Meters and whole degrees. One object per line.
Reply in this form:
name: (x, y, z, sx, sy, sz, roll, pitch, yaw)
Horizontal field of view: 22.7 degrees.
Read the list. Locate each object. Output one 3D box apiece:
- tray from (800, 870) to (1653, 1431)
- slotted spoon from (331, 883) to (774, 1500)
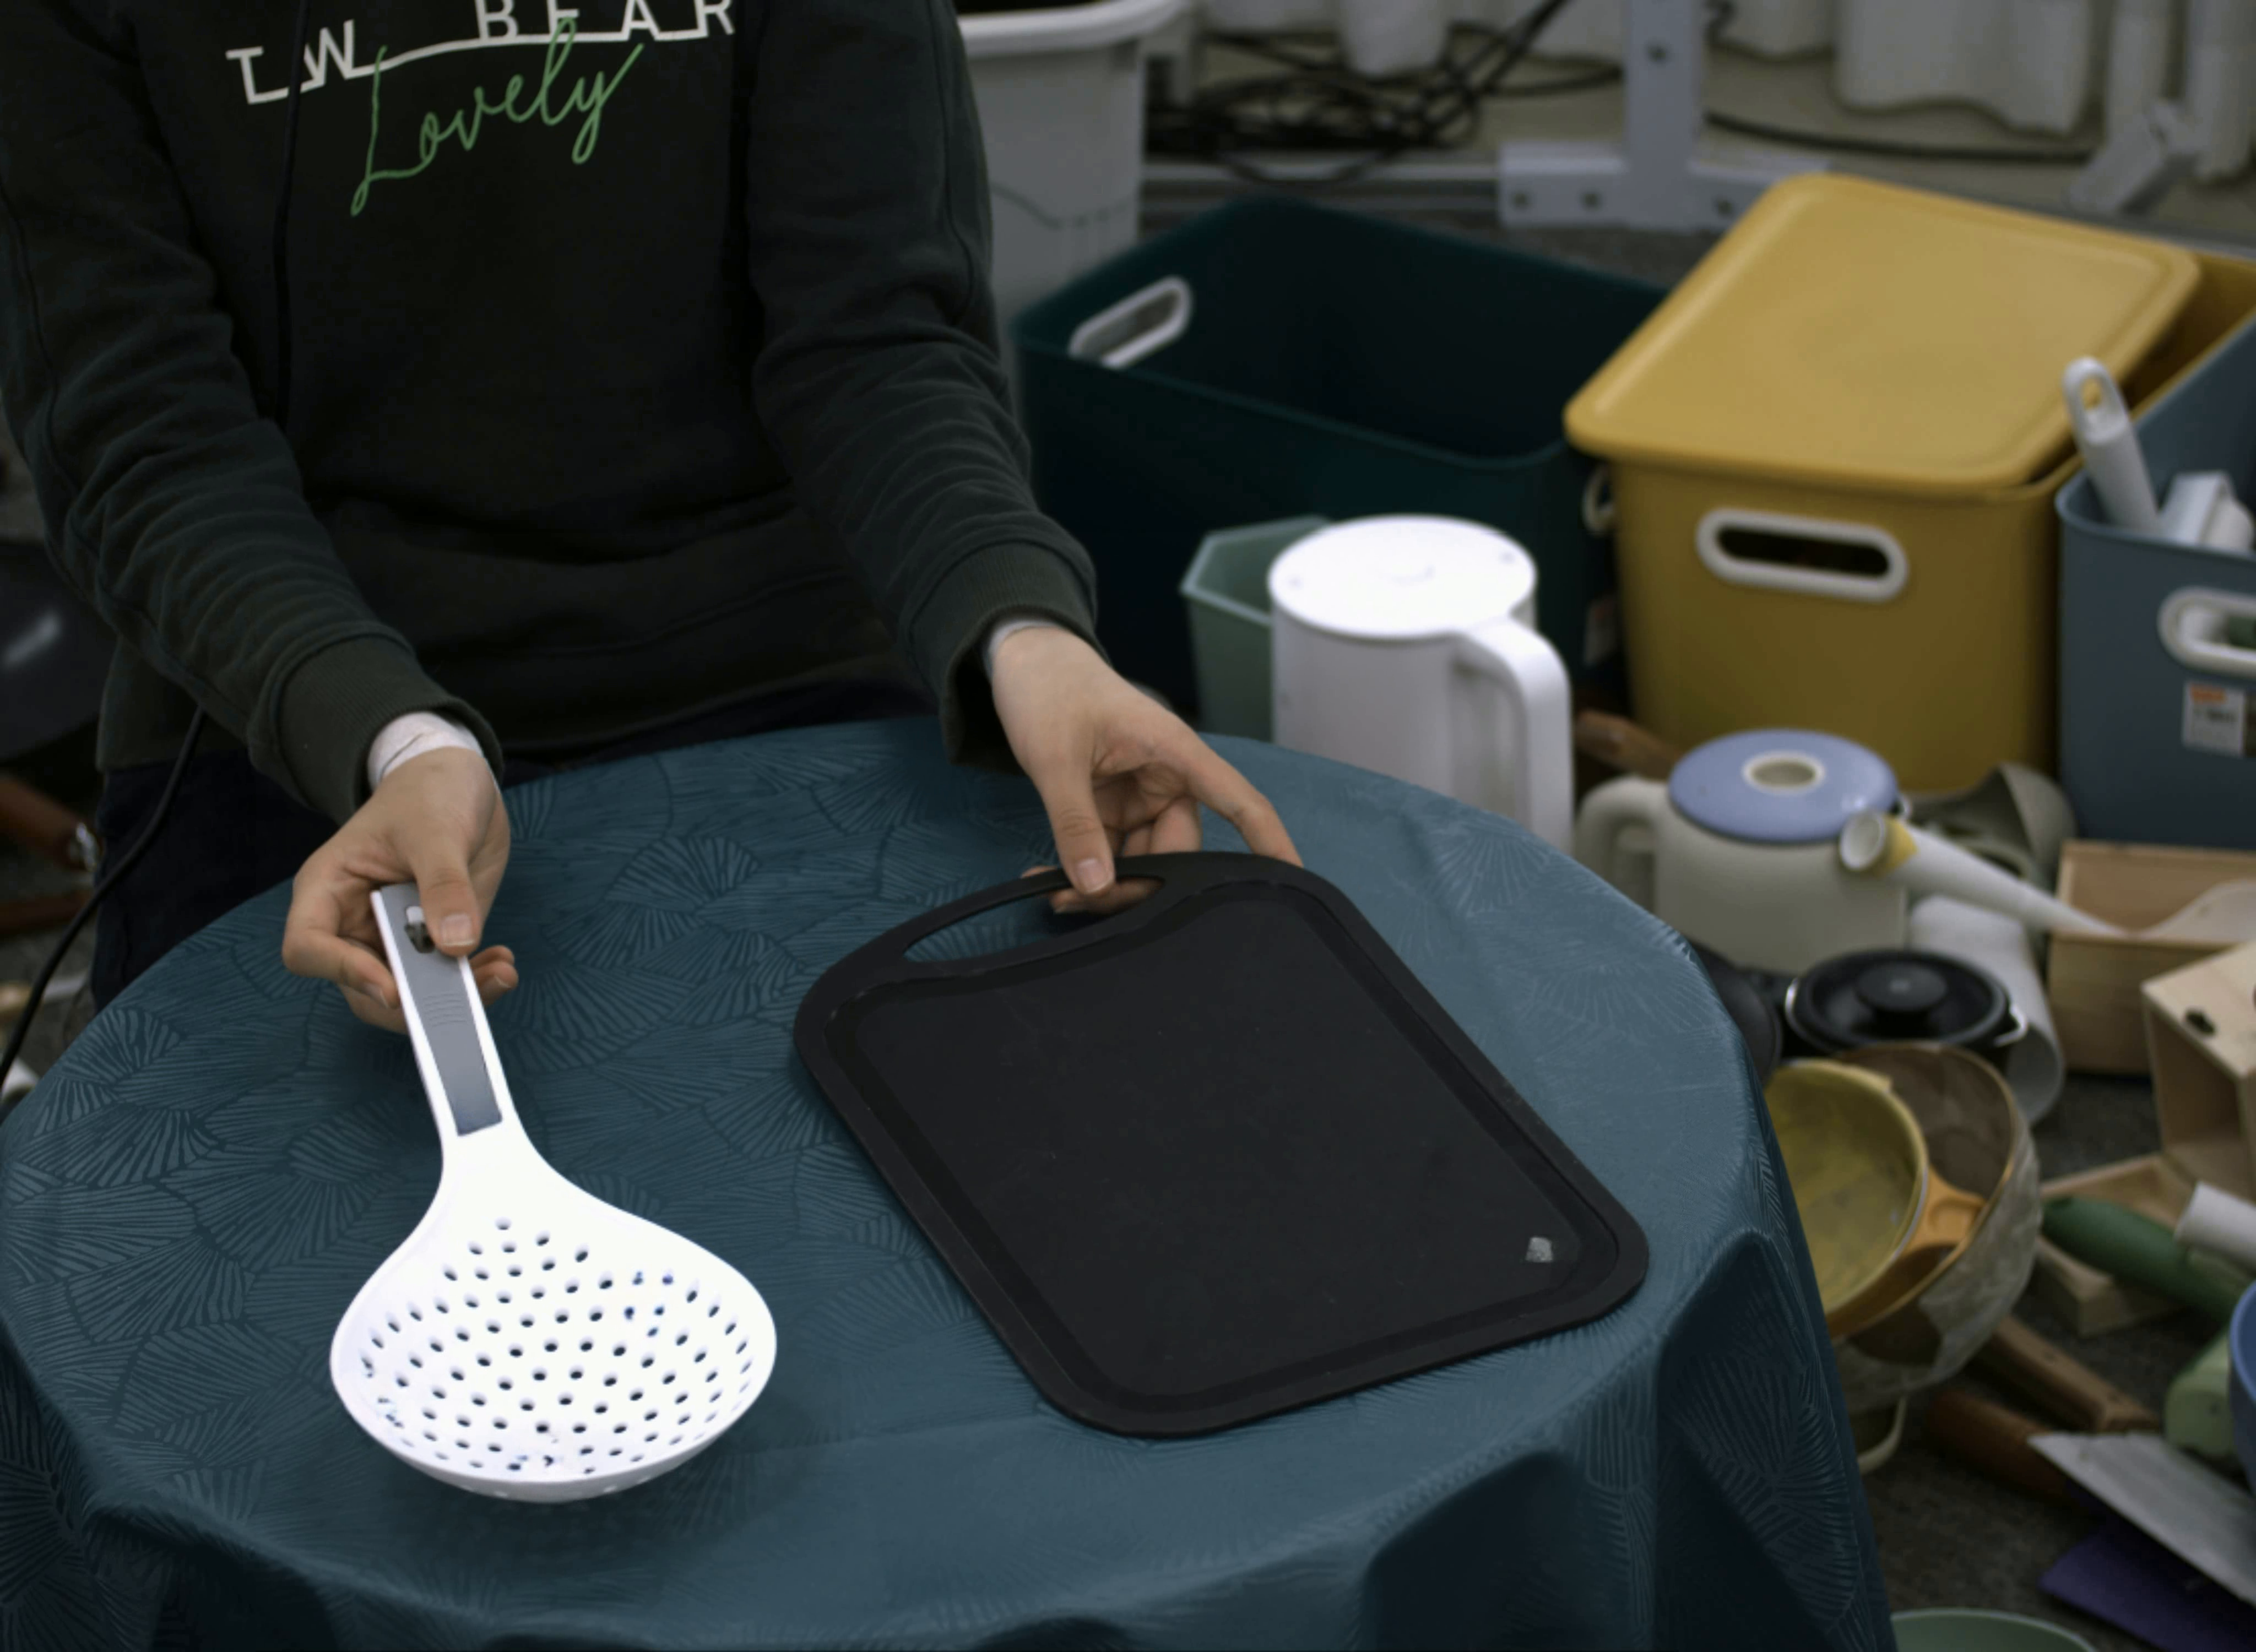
tray: (0.023, 0.098, 1.882, 0.212, 0.009, 0.328, -14, 32, -19)
slotted spoon: (-0.205, 0.112, 1.813, 0.136, 0.045, 0.354, -6, 35, -14)
